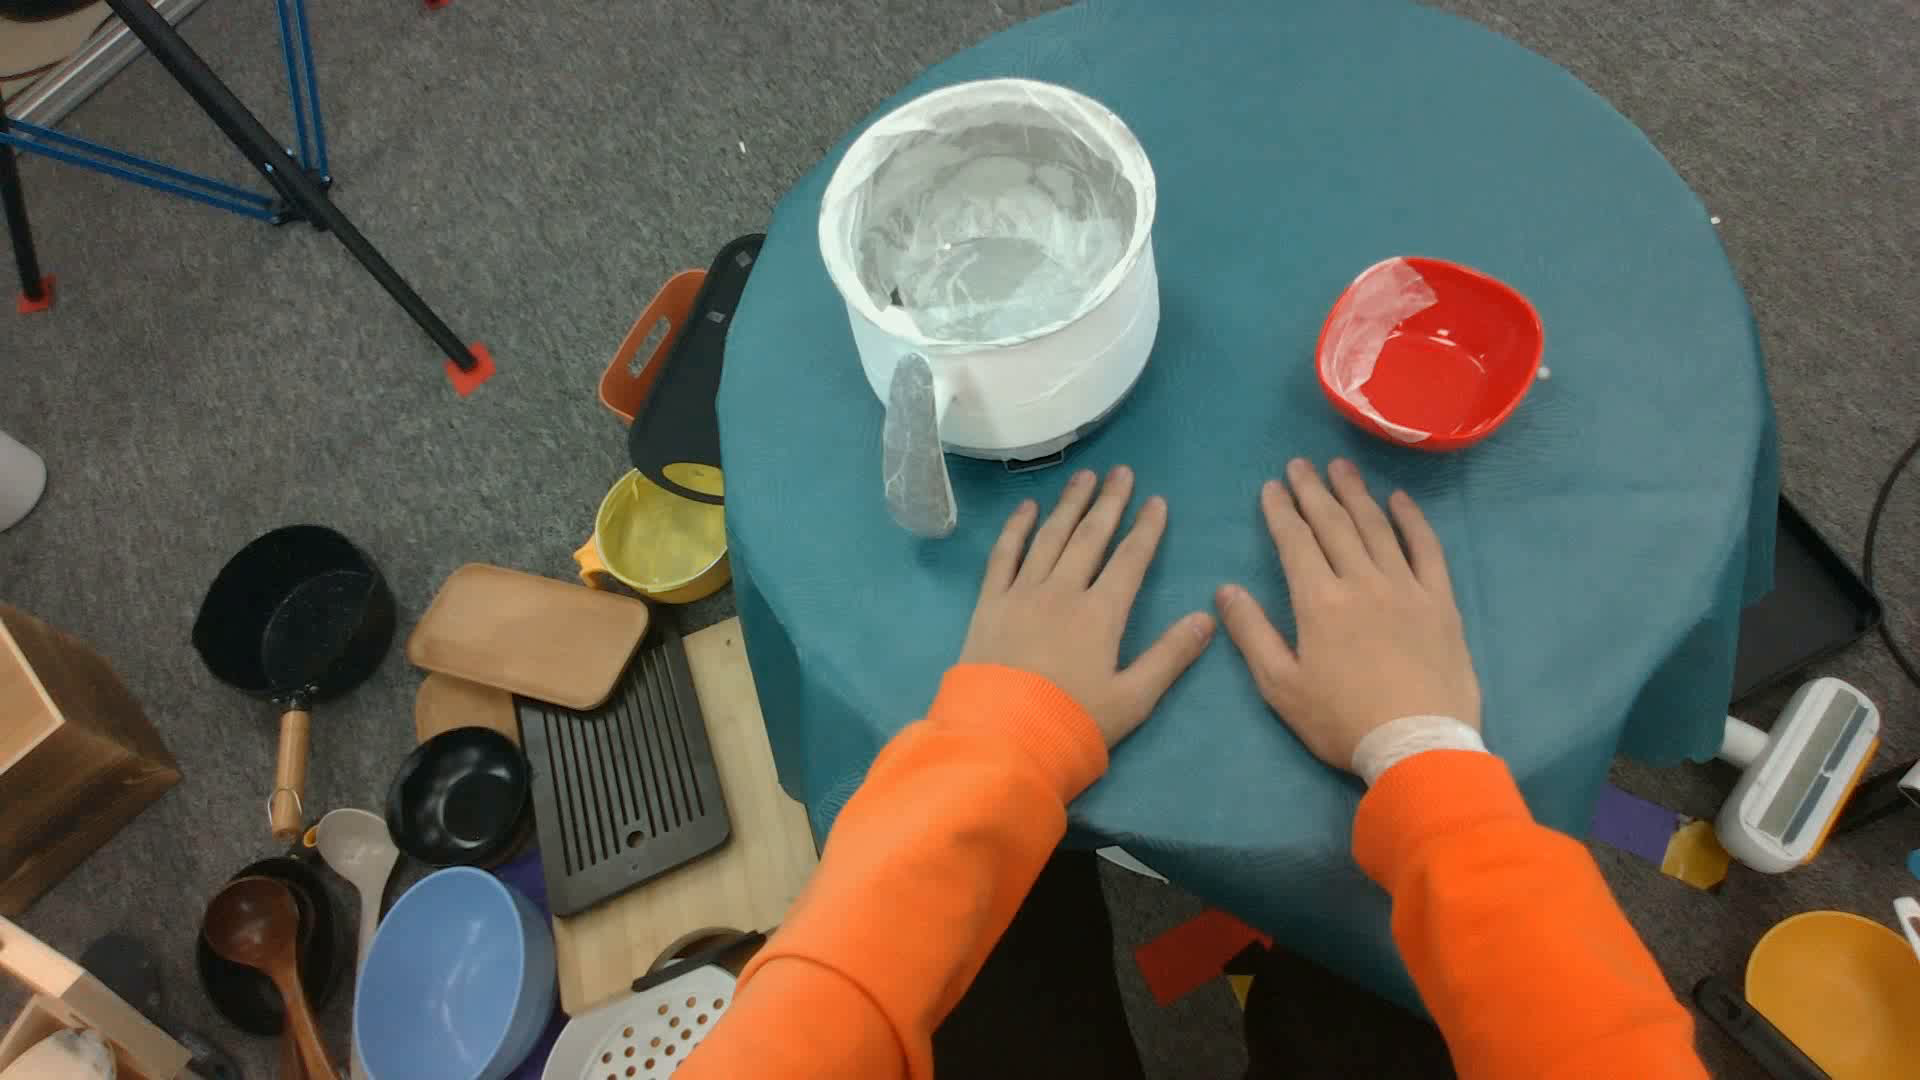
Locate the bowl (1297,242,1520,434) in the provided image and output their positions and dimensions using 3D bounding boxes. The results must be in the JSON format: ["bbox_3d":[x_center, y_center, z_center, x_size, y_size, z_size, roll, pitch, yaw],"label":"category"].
[{"bbox_3d":[0.243,-0.103,0.759,0.119,0.051,0.119,-3,63,6],"label":"bowl"}]

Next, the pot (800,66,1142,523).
[{"bbox_3d":[0.003,-0.129,0.761,0.178,0.136,0.234,13,66,16],"label":"pot"}]
